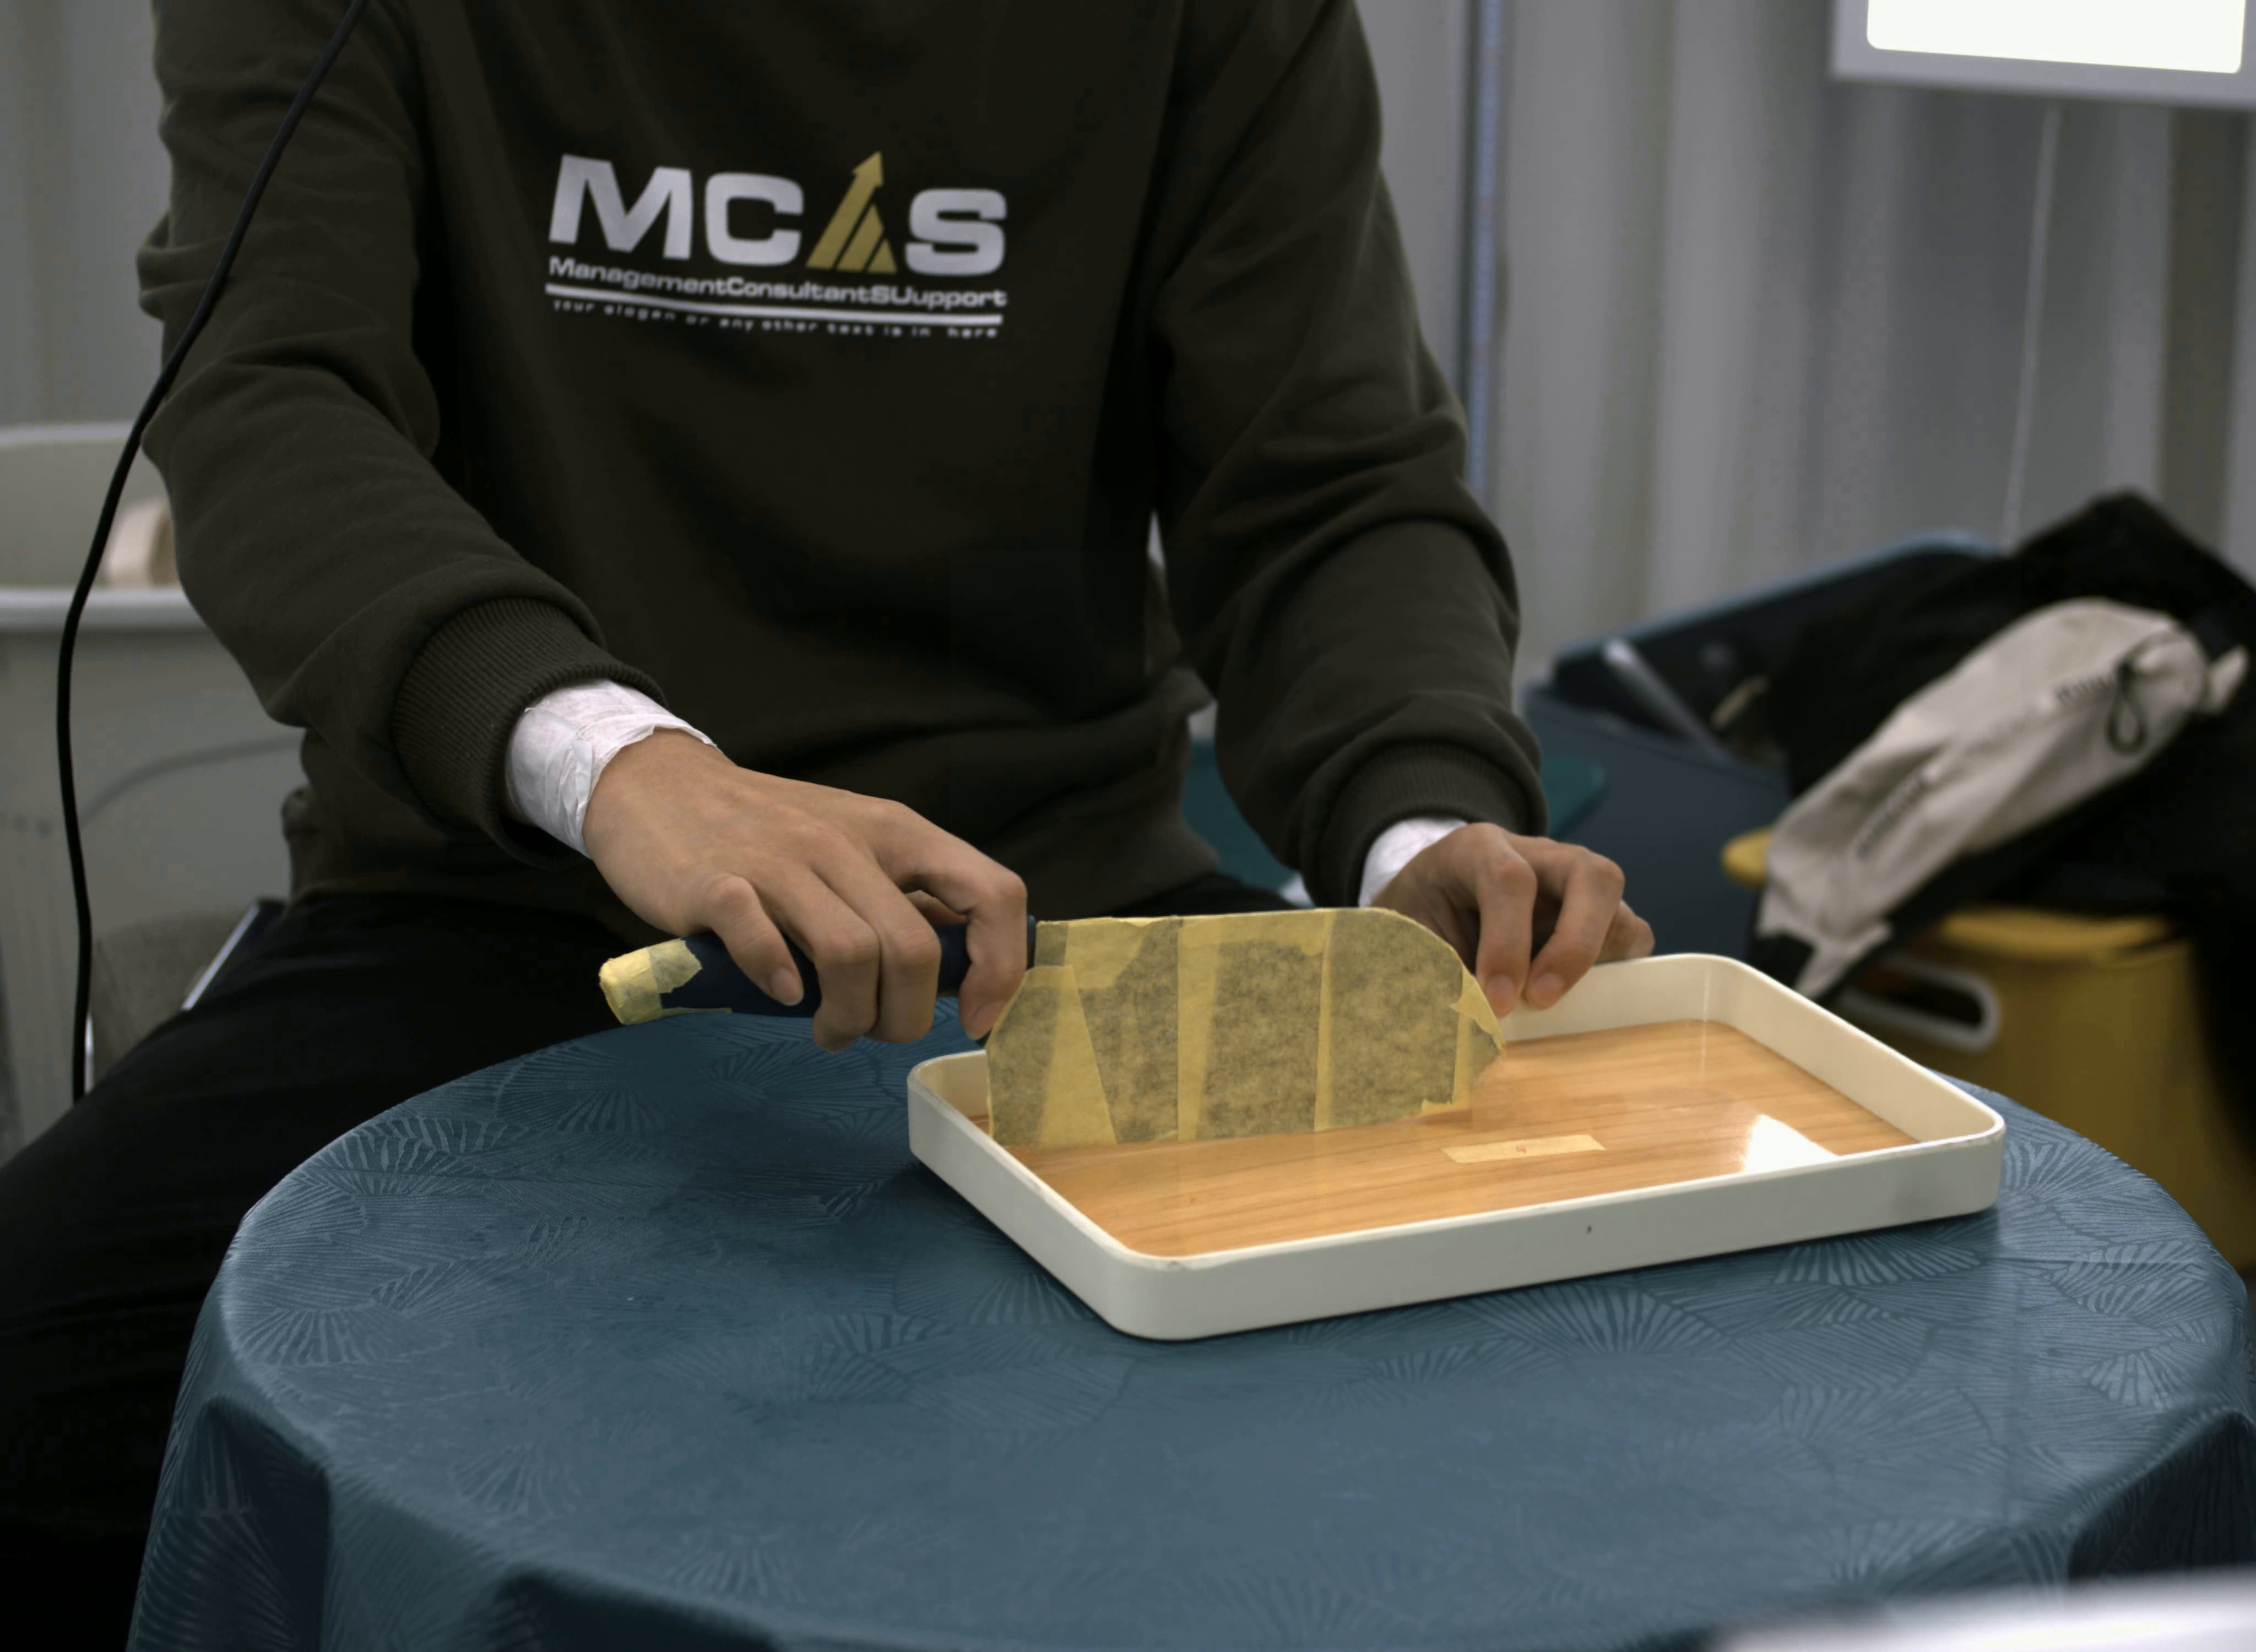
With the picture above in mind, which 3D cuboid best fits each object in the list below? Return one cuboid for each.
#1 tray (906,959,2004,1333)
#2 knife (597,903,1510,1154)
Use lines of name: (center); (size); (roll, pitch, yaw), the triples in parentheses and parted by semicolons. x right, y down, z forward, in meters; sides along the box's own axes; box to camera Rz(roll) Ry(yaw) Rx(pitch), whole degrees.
tray: (0.099, 0.095, 1.629); (0.301, 0.027, 0.189); (-6, 18, -24)
knife: (-0.020, 0.062, 1.615); (0.290, 0.081, 0.027); (1, 11, -14)
